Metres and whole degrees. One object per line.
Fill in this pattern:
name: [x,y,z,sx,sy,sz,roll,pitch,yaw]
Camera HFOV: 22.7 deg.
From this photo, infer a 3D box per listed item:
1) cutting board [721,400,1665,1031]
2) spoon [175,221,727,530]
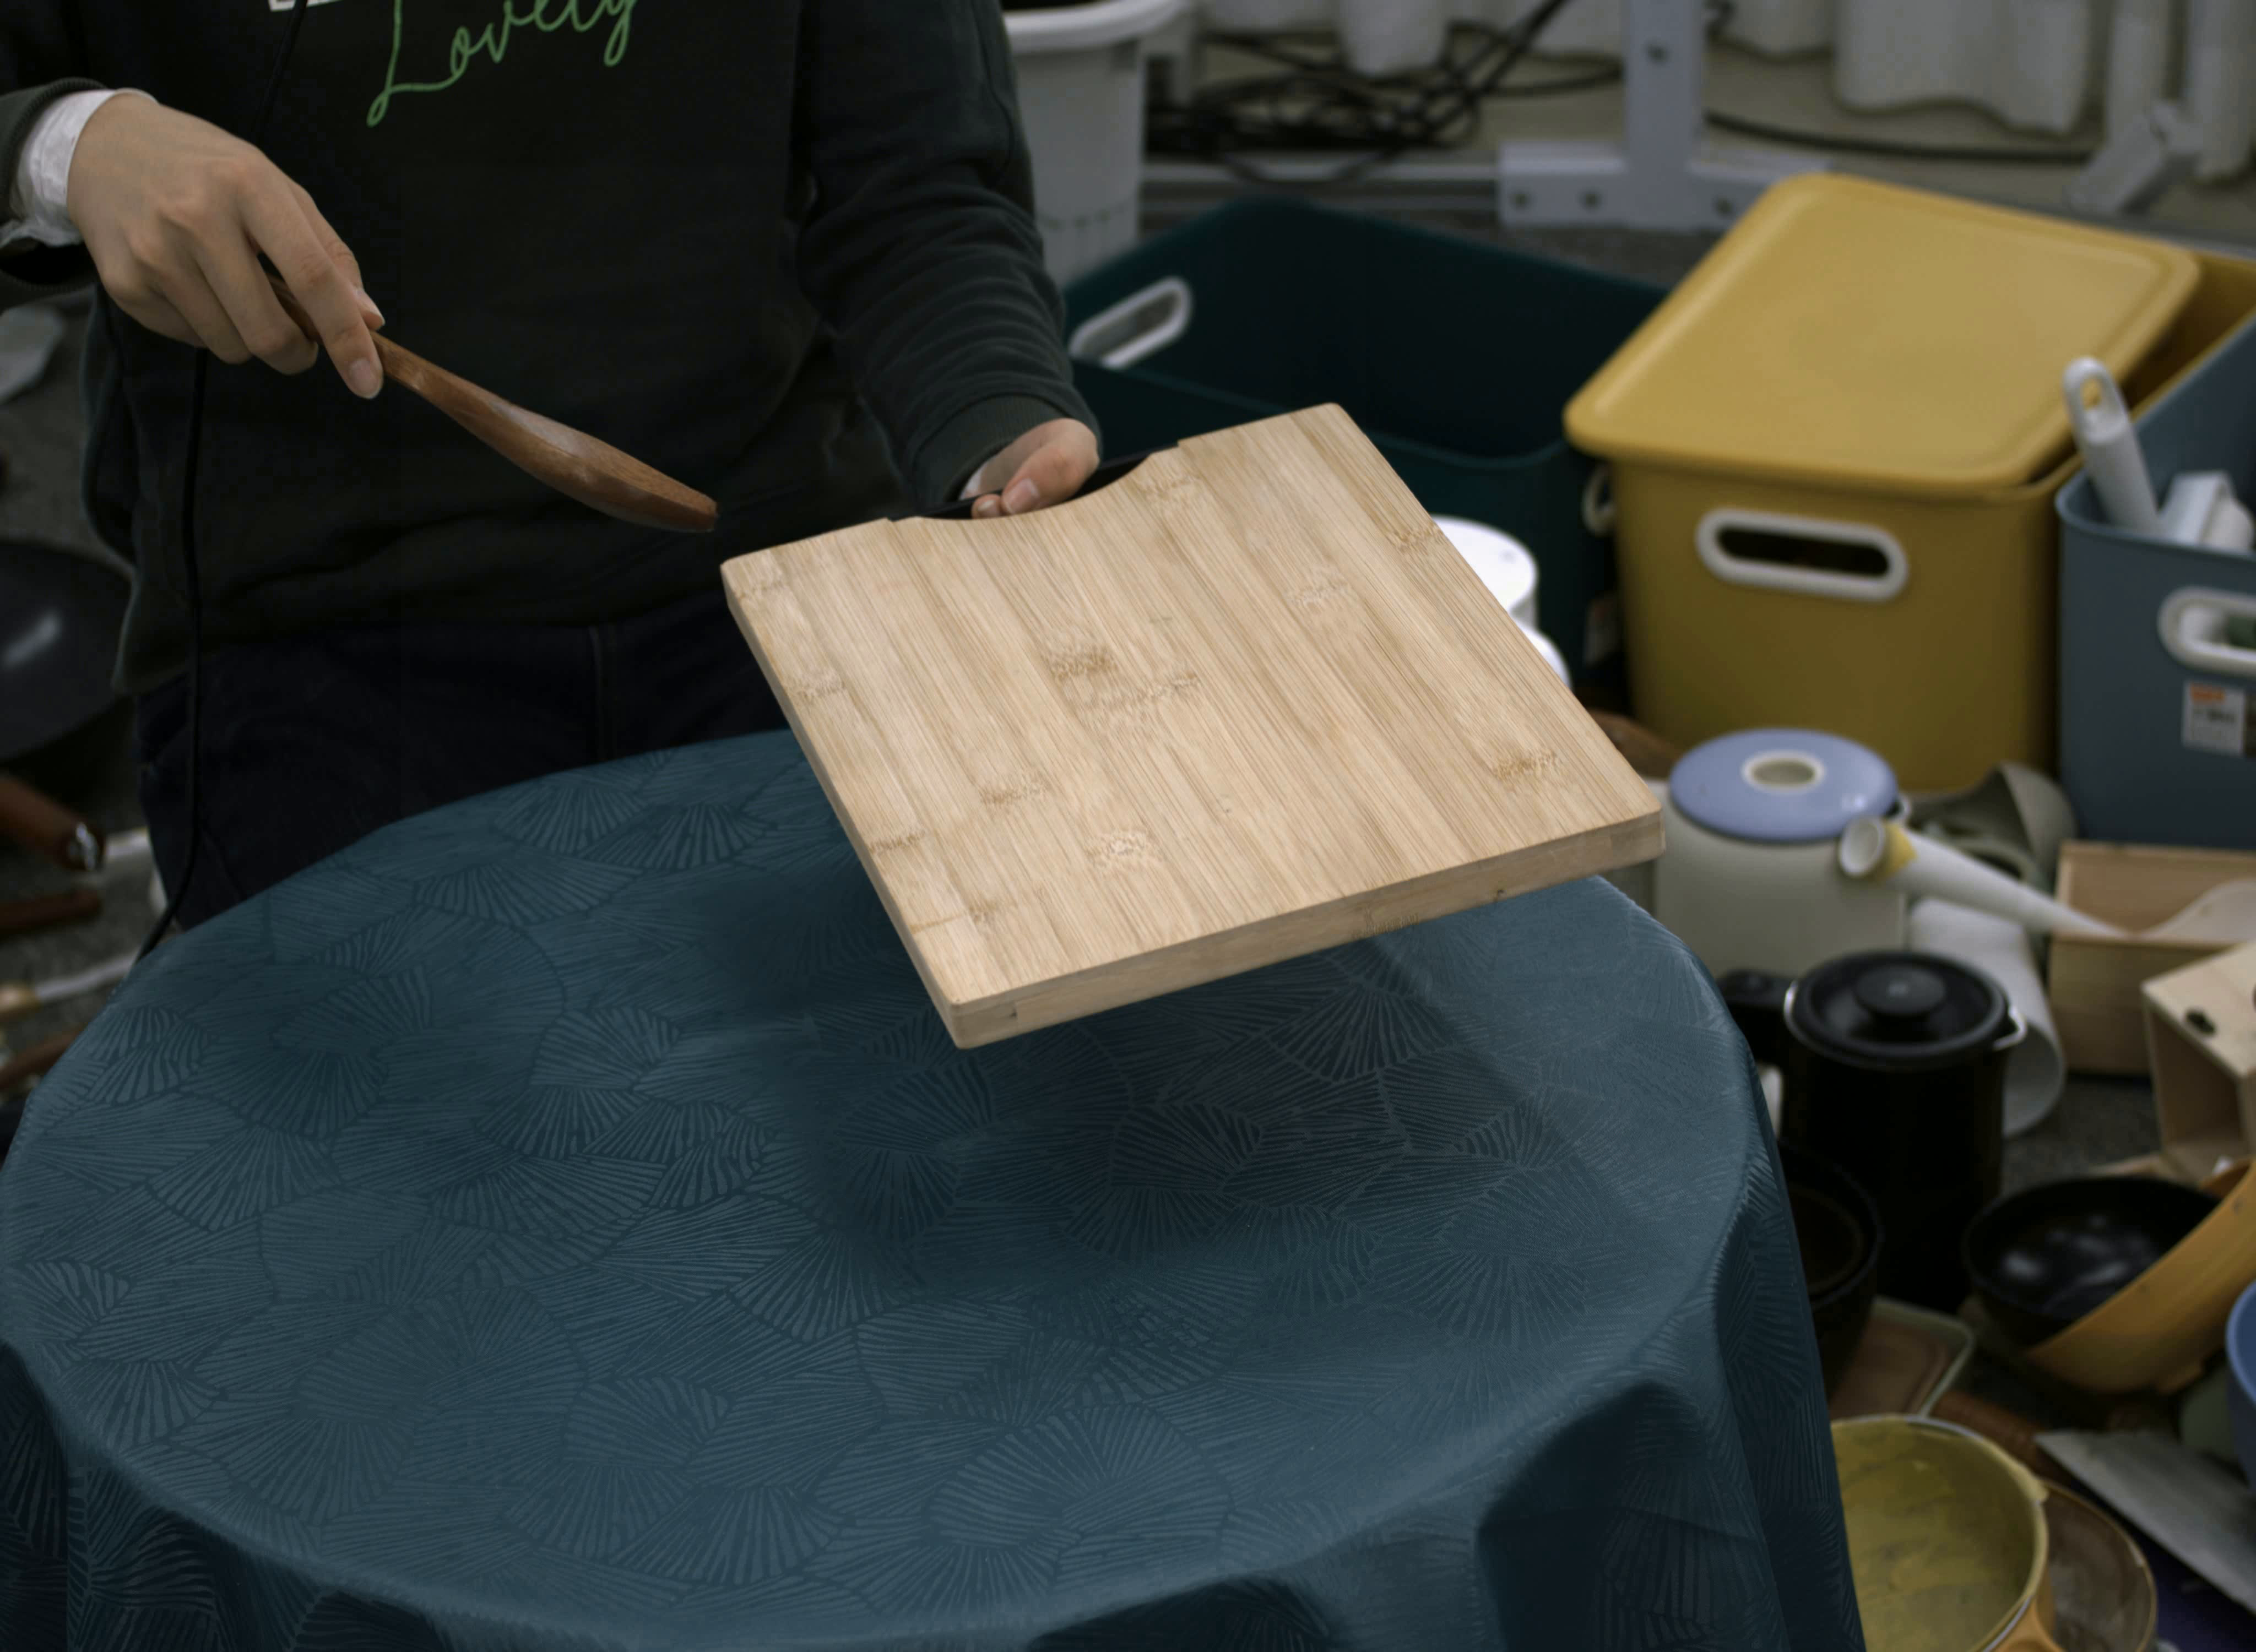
cutting board: [0.012,-0.045,1.928,0.251,0.023,0.352,-14,29,-11]
spoon: [-0.226,-0.145,1.856,0.215,0.017,0.076,29,12,17]
